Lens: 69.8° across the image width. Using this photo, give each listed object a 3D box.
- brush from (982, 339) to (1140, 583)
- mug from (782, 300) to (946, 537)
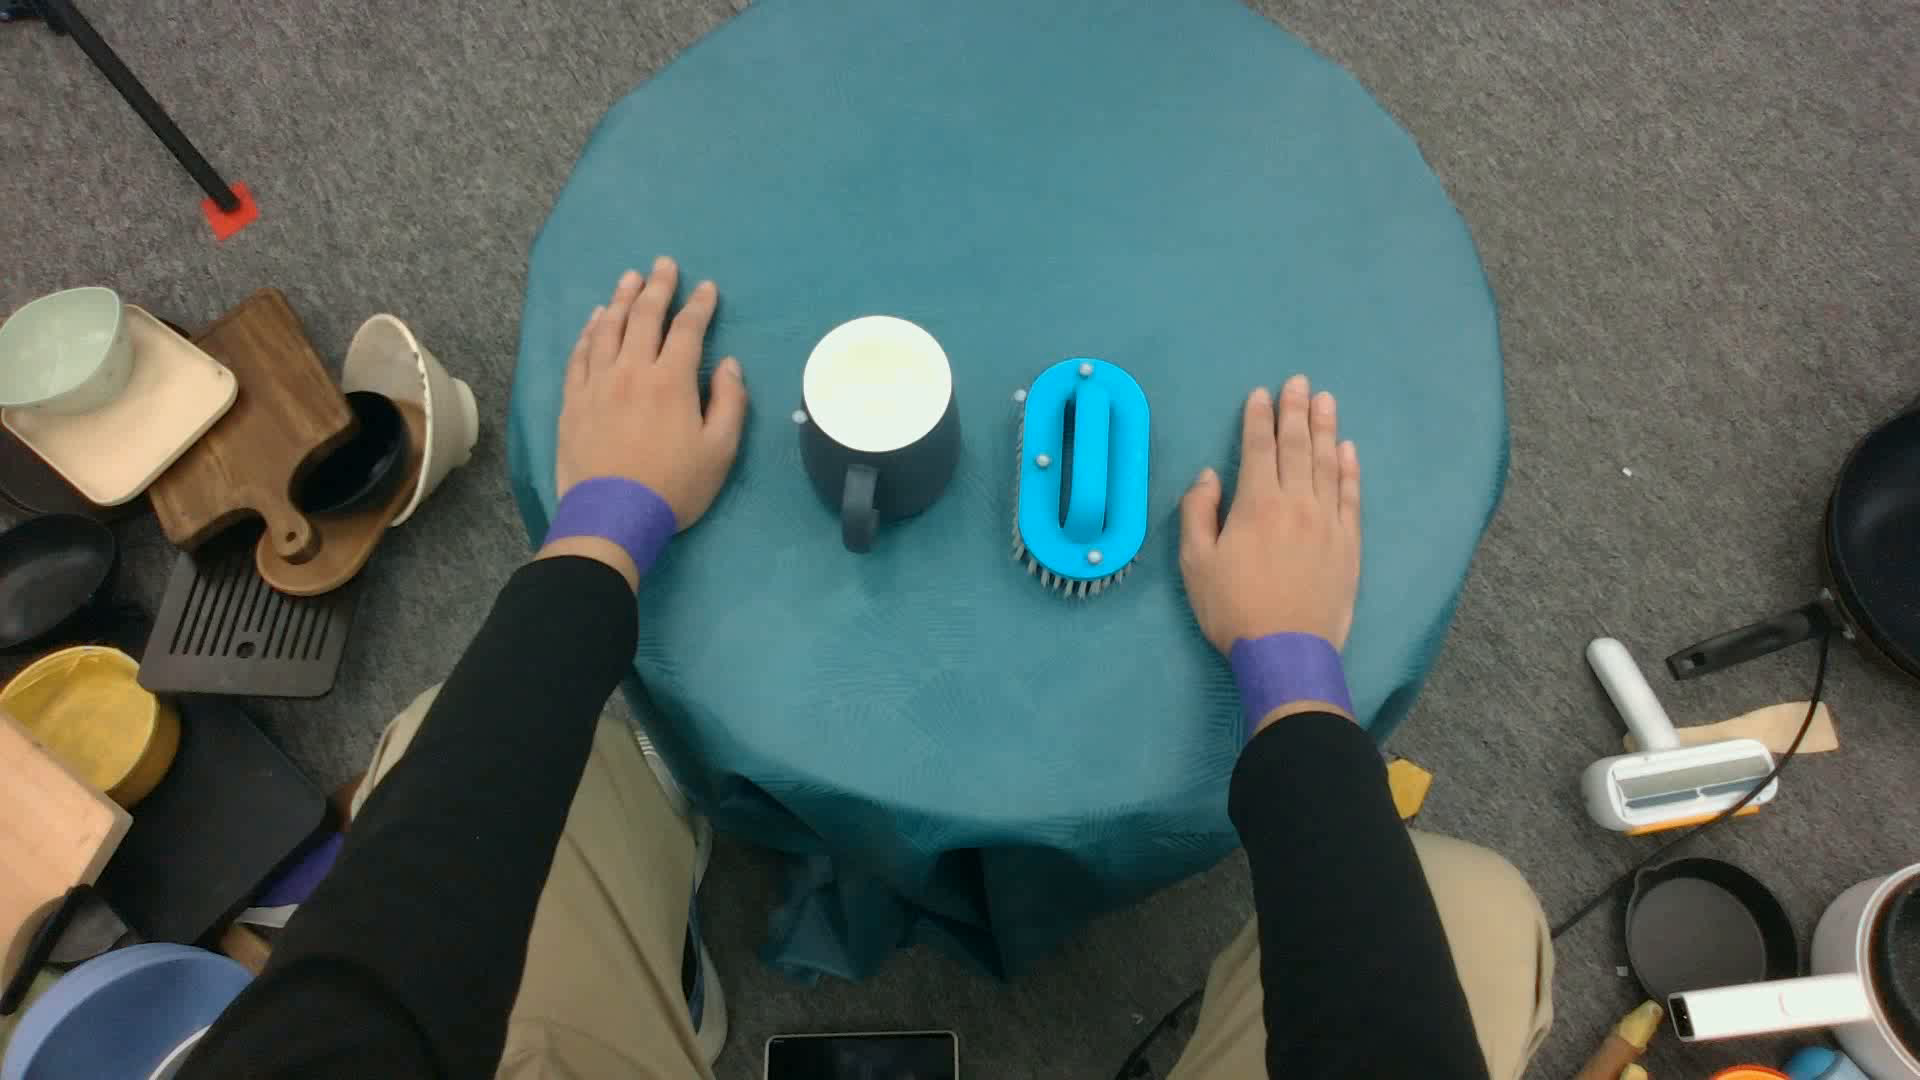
[{"bbox_3d":[0.060,-0.051,0.775,0.084,0.063,0.142,8,69,-5],"label":"brush"},{"bbox_3d":[-0.057,-0.062,0.758,0.093,0.089,0.123,11,67,2],"label":"mug"}]
